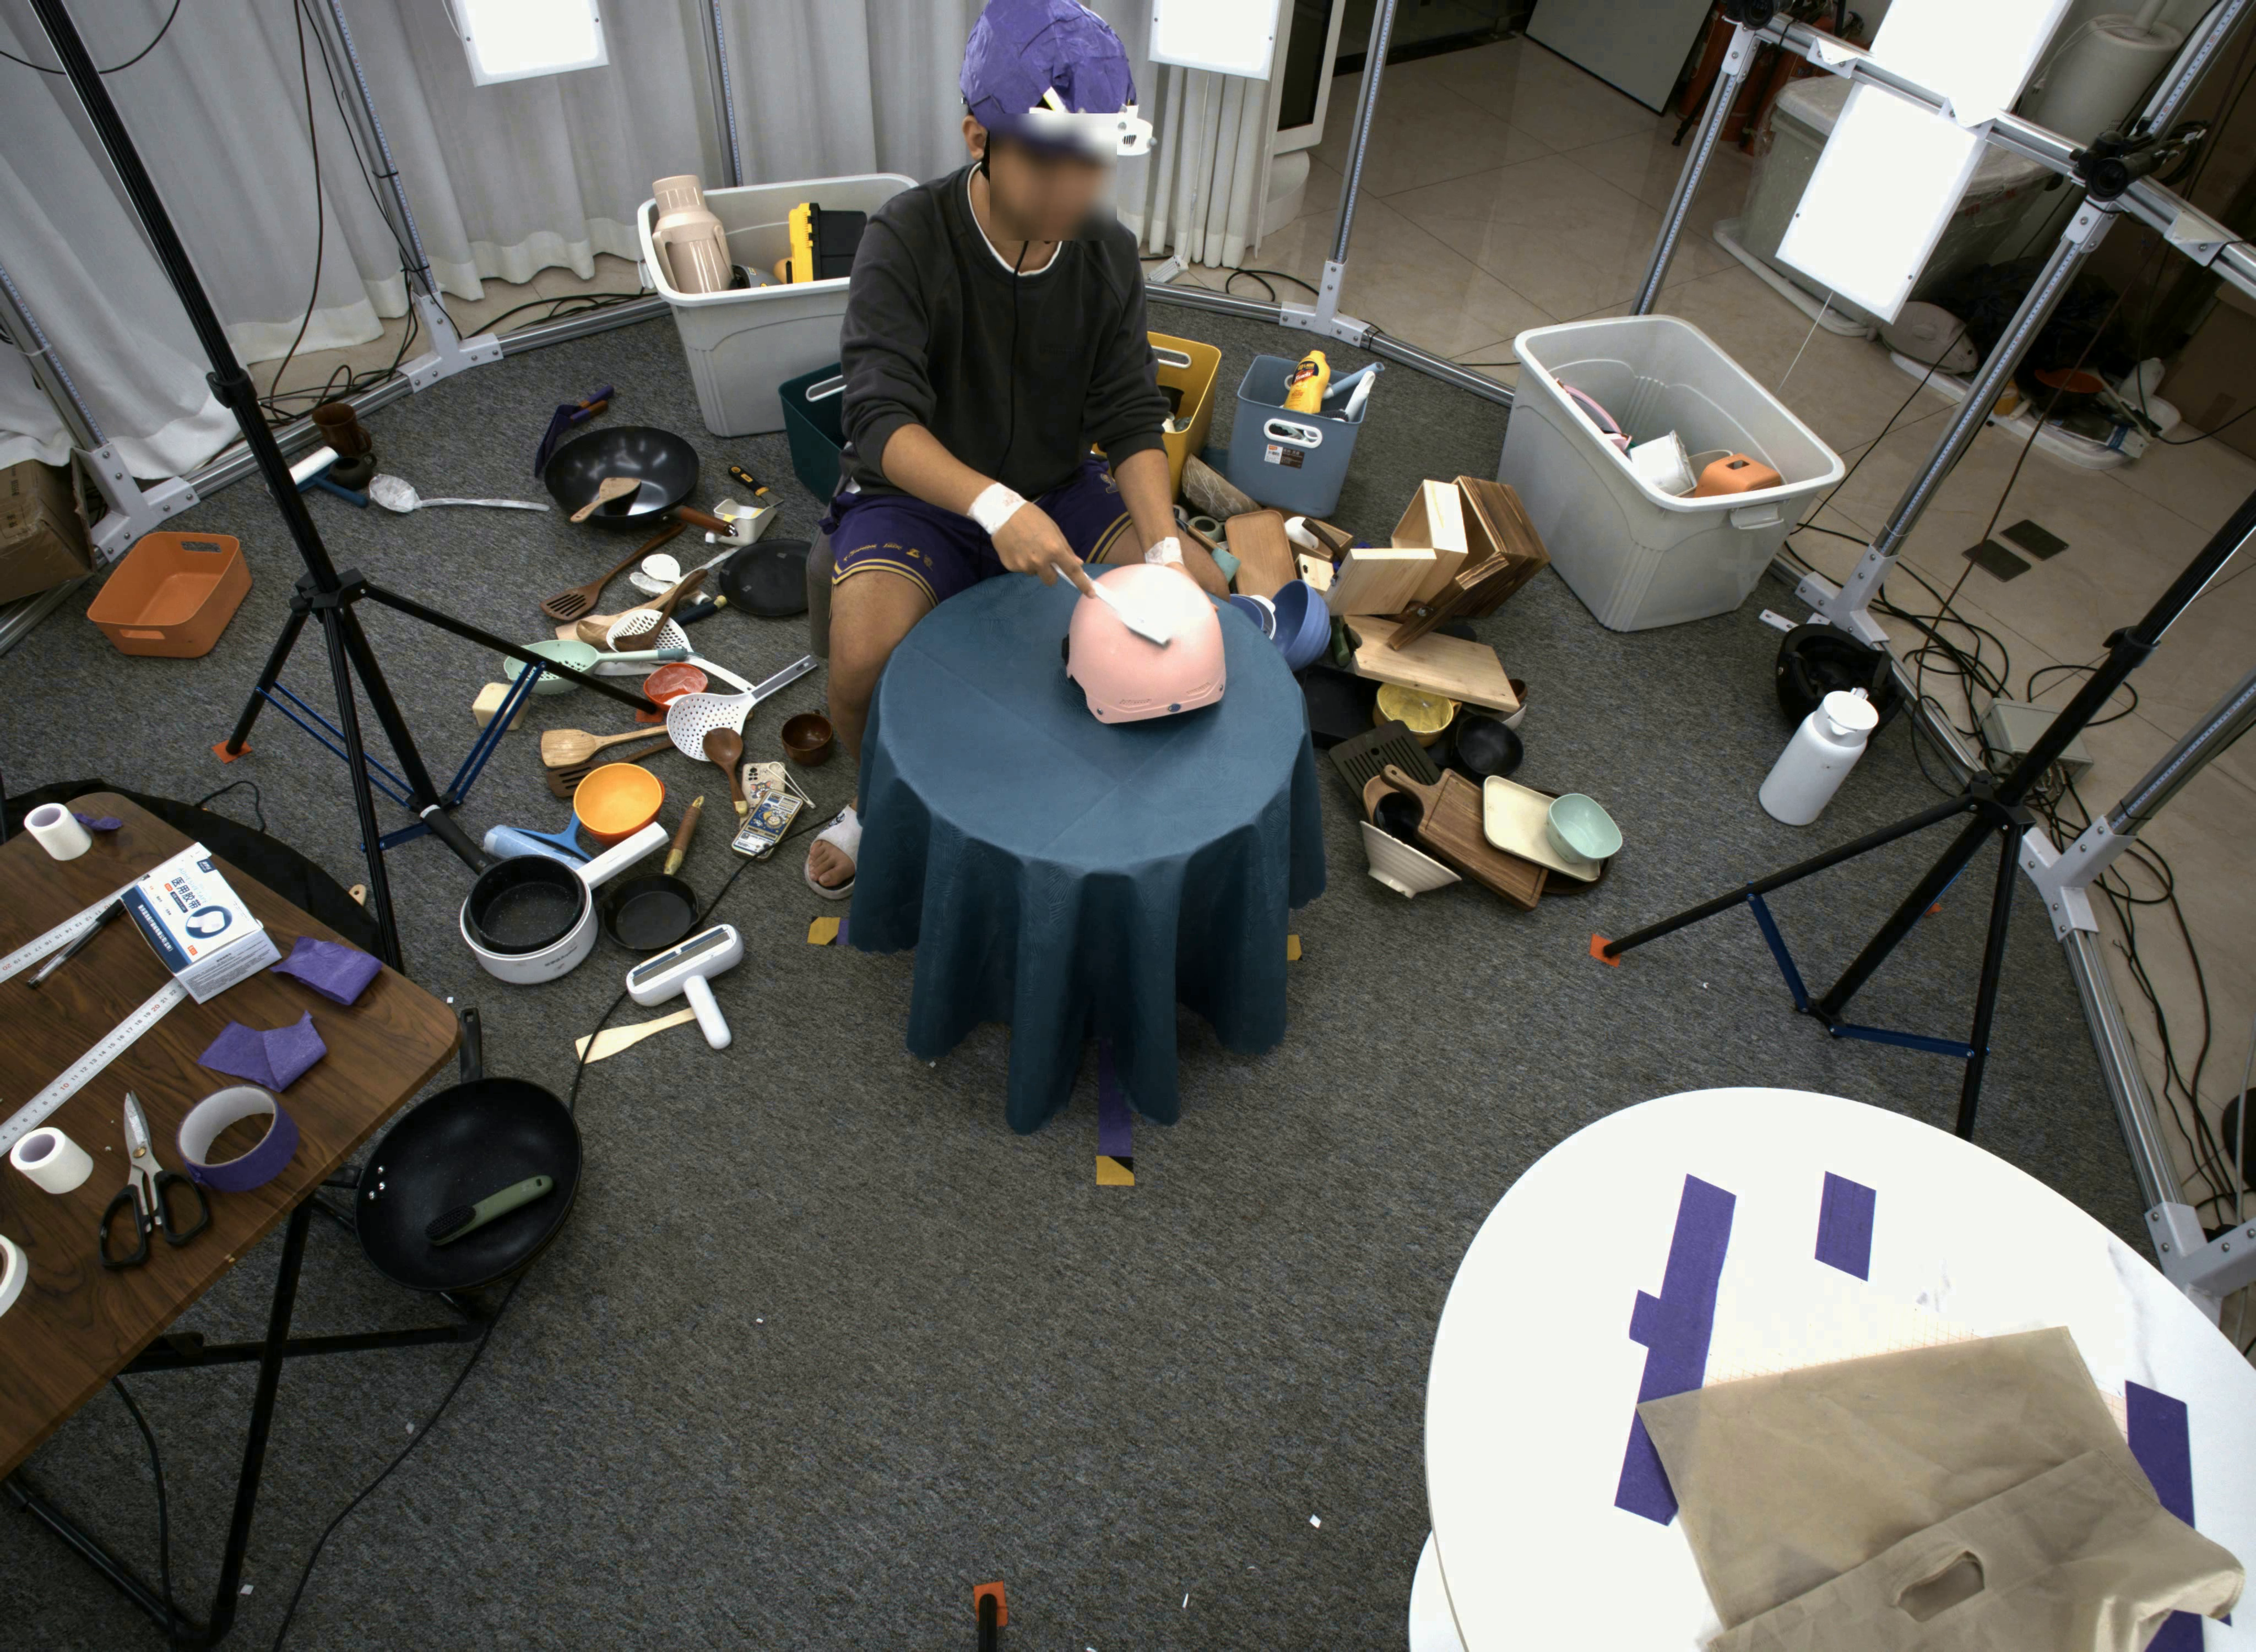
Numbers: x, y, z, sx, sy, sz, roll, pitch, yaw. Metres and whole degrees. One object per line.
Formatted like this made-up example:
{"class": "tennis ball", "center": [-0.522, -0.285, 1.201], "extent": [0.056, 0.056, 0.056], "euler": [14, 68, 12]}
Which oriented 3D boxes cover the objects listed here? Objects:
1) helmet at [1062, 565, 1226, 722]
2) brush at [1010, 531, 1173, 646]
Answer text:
{"class": "helmet", "center": [0.021, -0.280, 1.805], "extent": [0.234, 0.155, 0.272], "euler": [-13, 47, -8]}
{"class": "brush", "center": [-0.048, -0.308, 1.674], "extent": [0.243, 0.050, 0.034], "euler": [29, 79, -6]}
